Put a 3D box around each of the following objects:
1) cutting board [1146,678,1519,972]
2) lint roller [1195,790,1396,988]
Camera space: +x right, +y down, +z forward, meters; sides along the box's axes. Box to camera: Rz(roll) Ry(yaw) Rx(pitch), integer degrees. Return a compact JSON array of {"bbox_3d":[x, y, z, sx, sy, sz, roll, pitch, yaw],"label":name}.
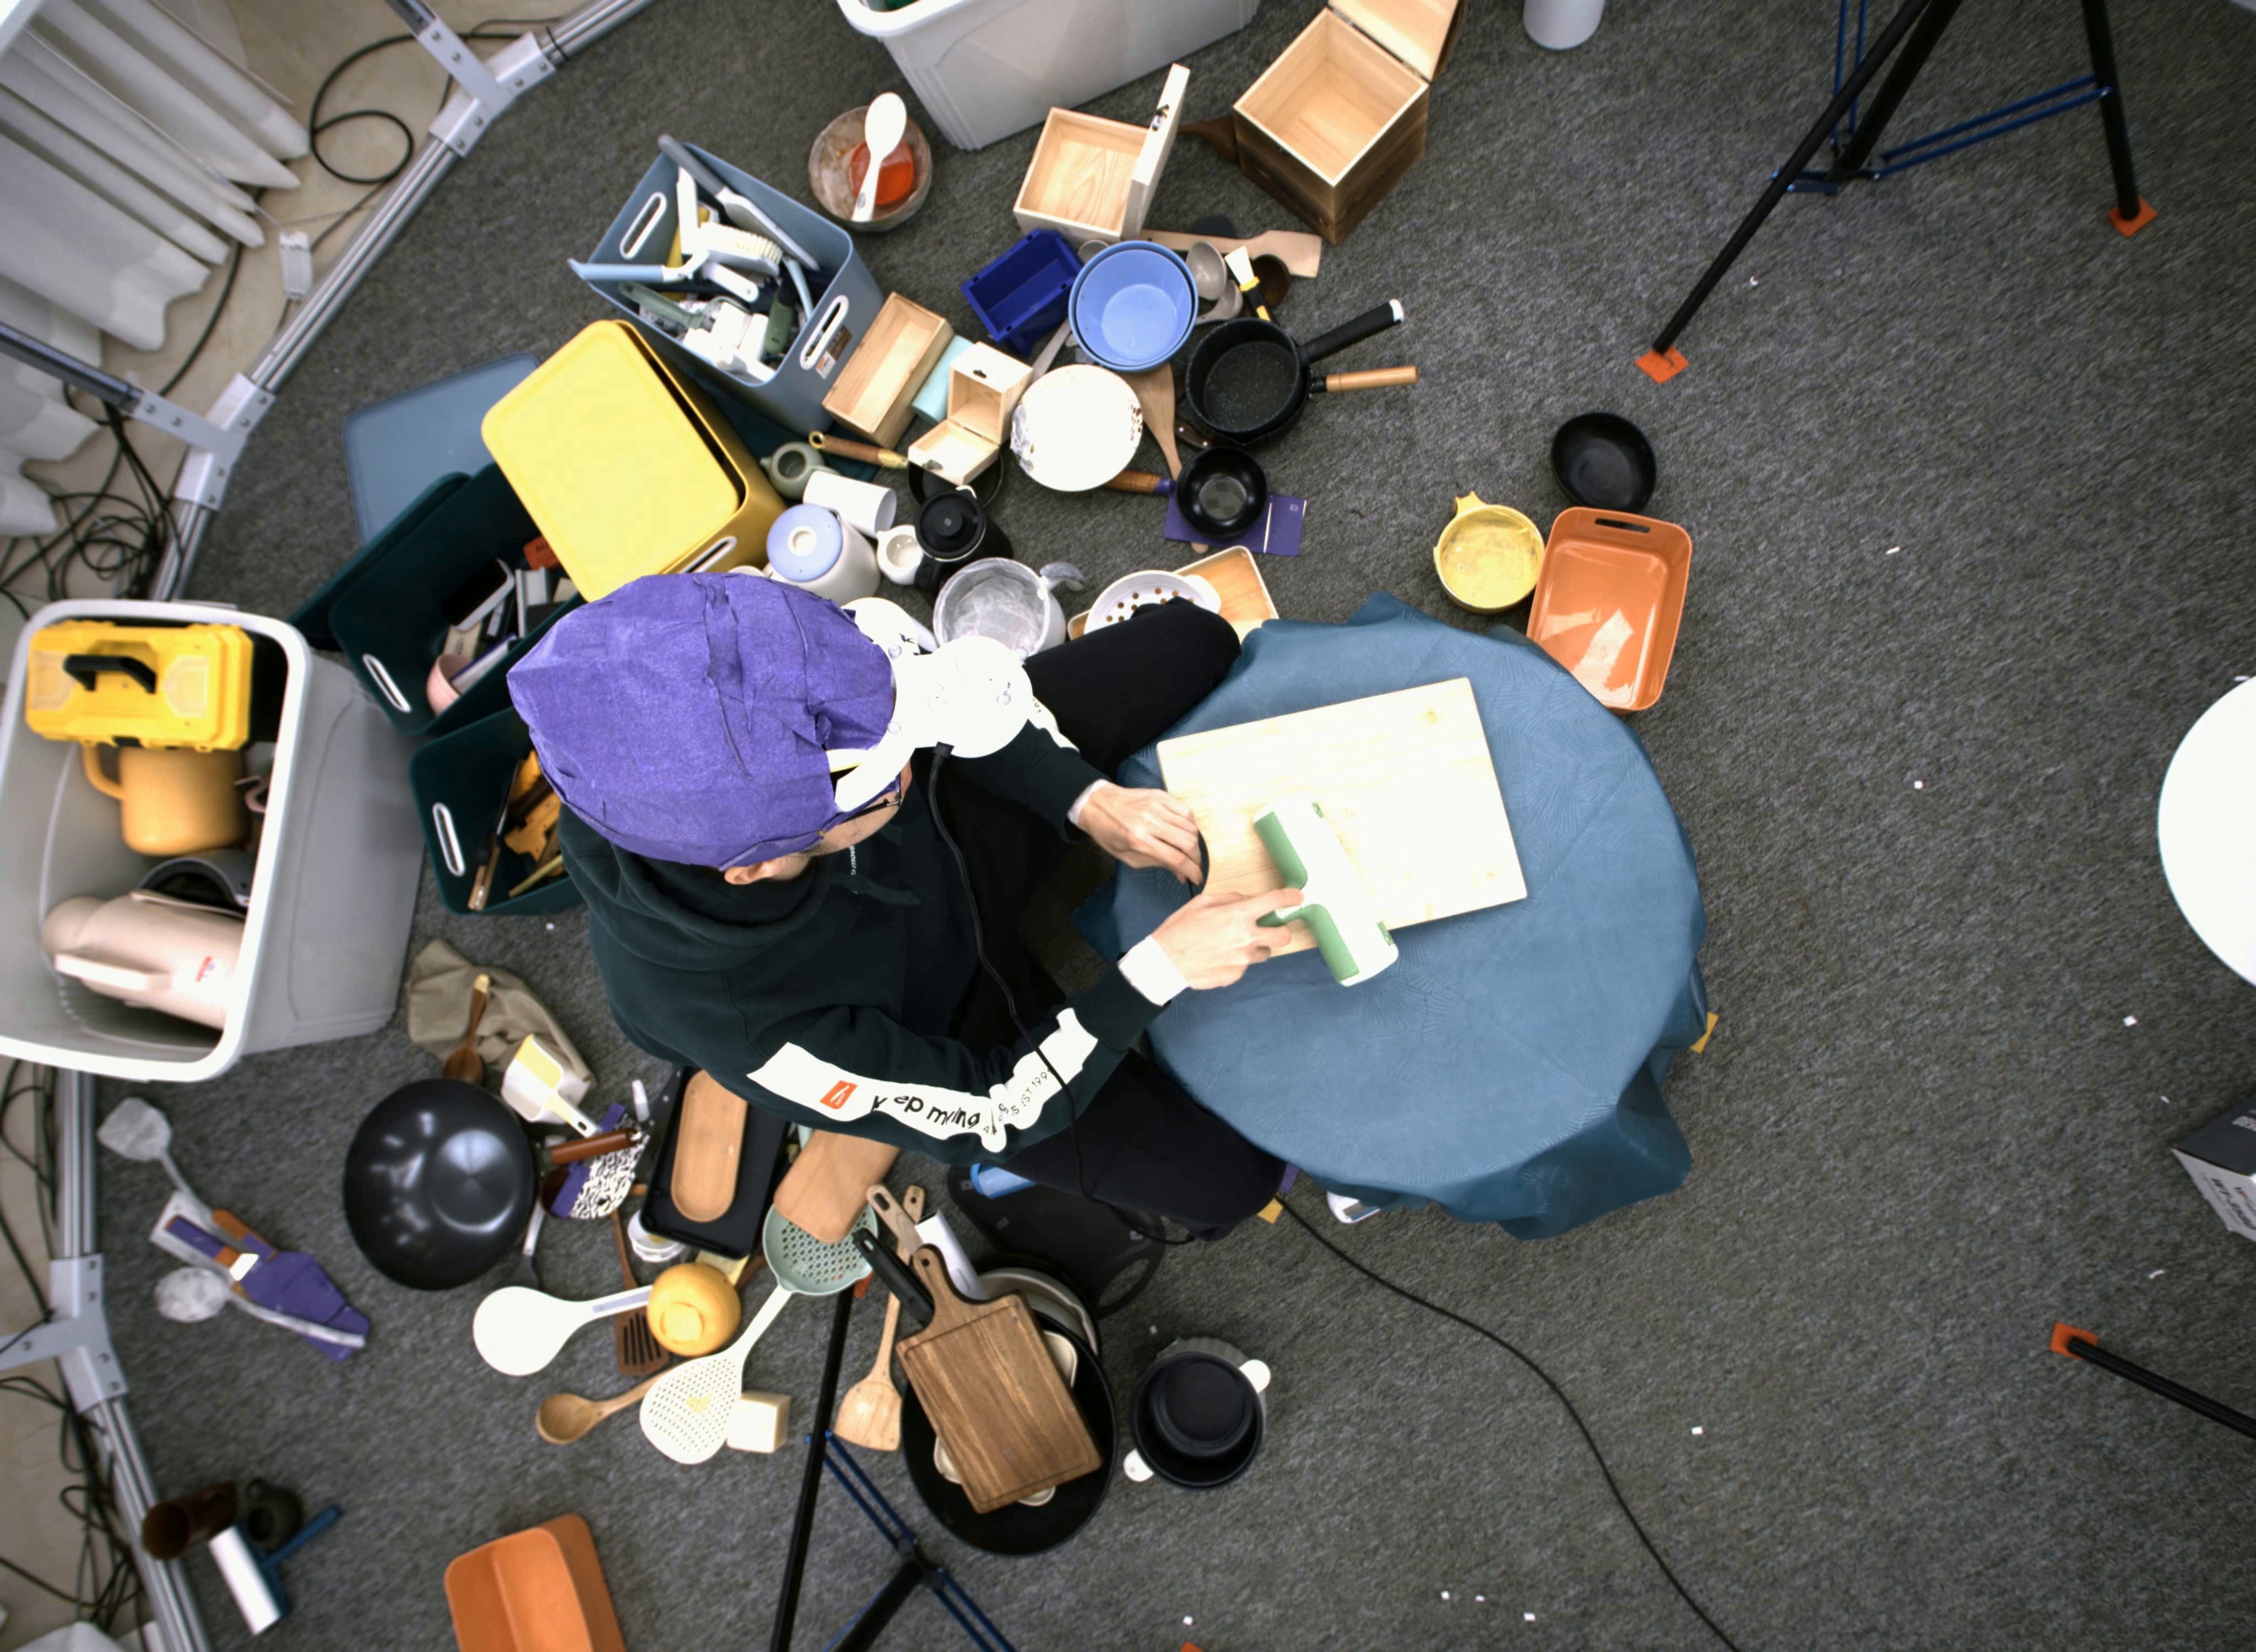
[{"bbox_3d":[0.214,-0.006,1.418,0.348,0.024,0.249,-13,84,-5],"label":"cutting board"},{"bbox_3d":[0.151,0.078,1.335,0.181,0.083,0.198,-24,84,-29],"label":"lint roller"}]
